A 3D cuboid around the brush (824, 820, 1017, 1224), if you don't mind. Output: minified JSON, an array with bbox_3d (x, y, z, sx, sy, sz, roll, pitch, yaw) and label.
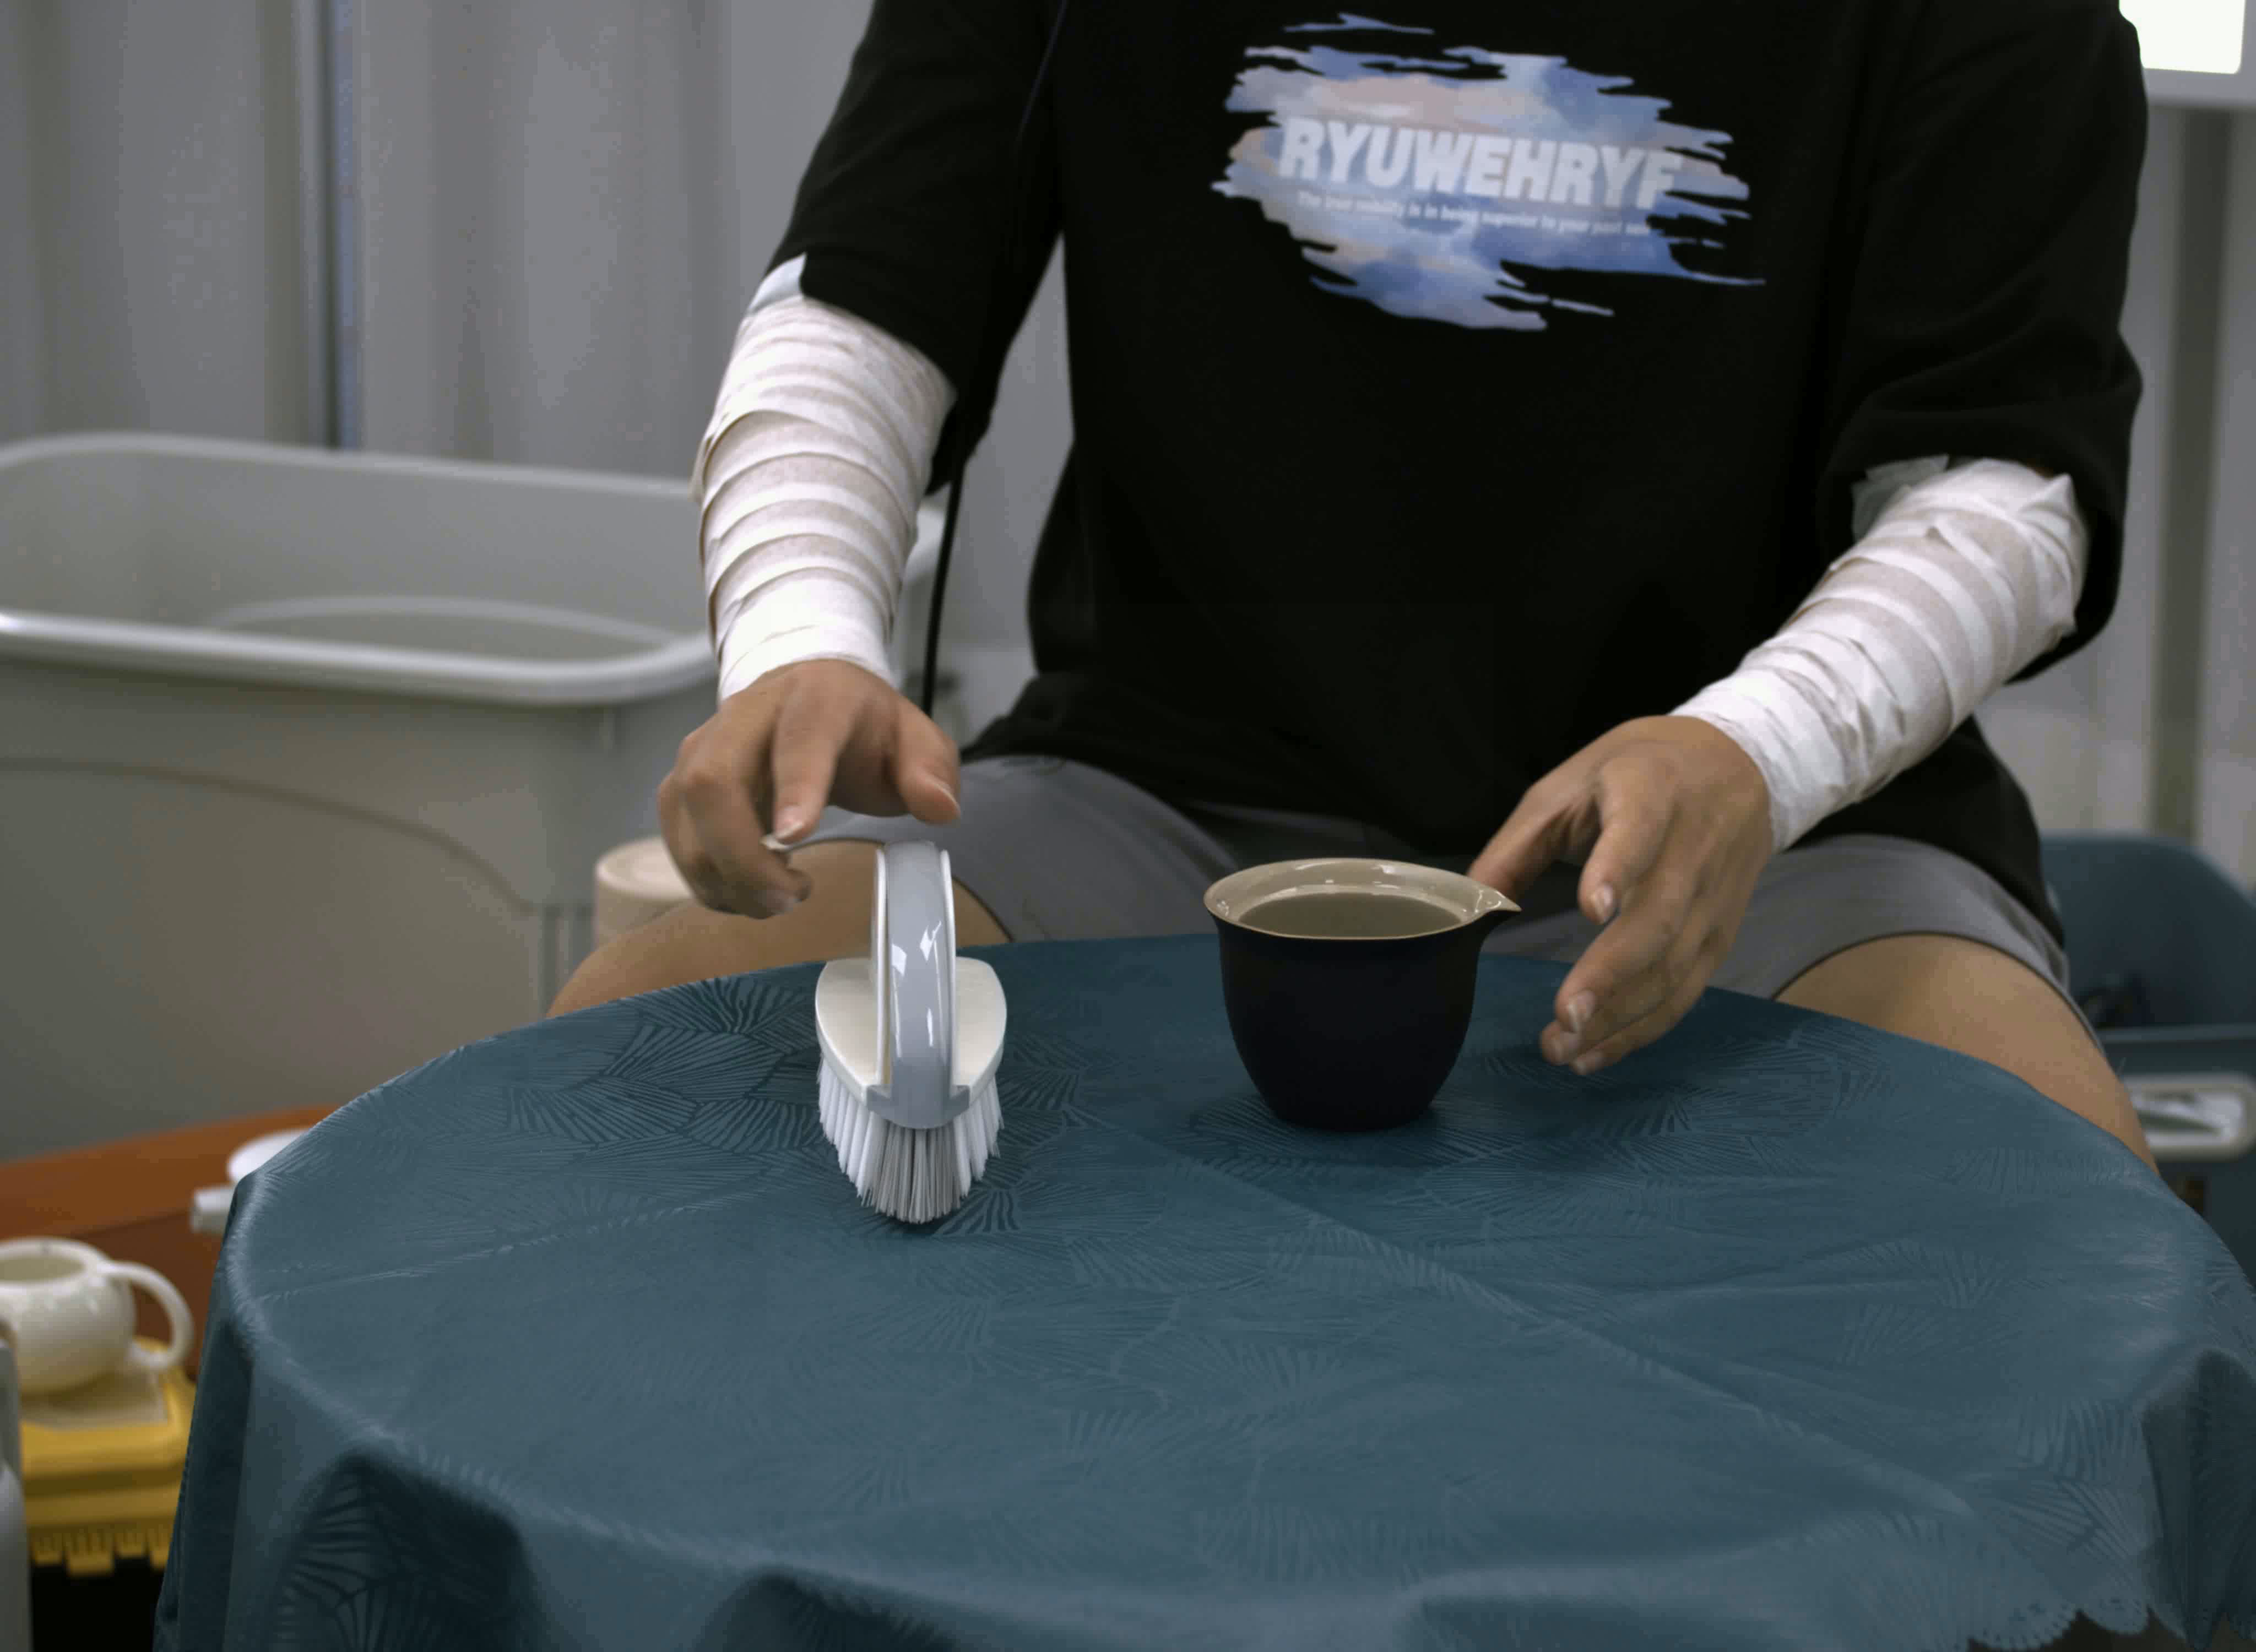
[{"bbox_3d":[-0.065,0.055,1.655,0.061,0.095,0.174,-3,19,-3],"label":"brush"}]

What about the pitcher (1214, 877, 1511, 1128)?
[{"bbox_3d":[0.073,0.056,1.693,0.096,0.072,0.083,3,14,-3],"label":"pitcher"}]
